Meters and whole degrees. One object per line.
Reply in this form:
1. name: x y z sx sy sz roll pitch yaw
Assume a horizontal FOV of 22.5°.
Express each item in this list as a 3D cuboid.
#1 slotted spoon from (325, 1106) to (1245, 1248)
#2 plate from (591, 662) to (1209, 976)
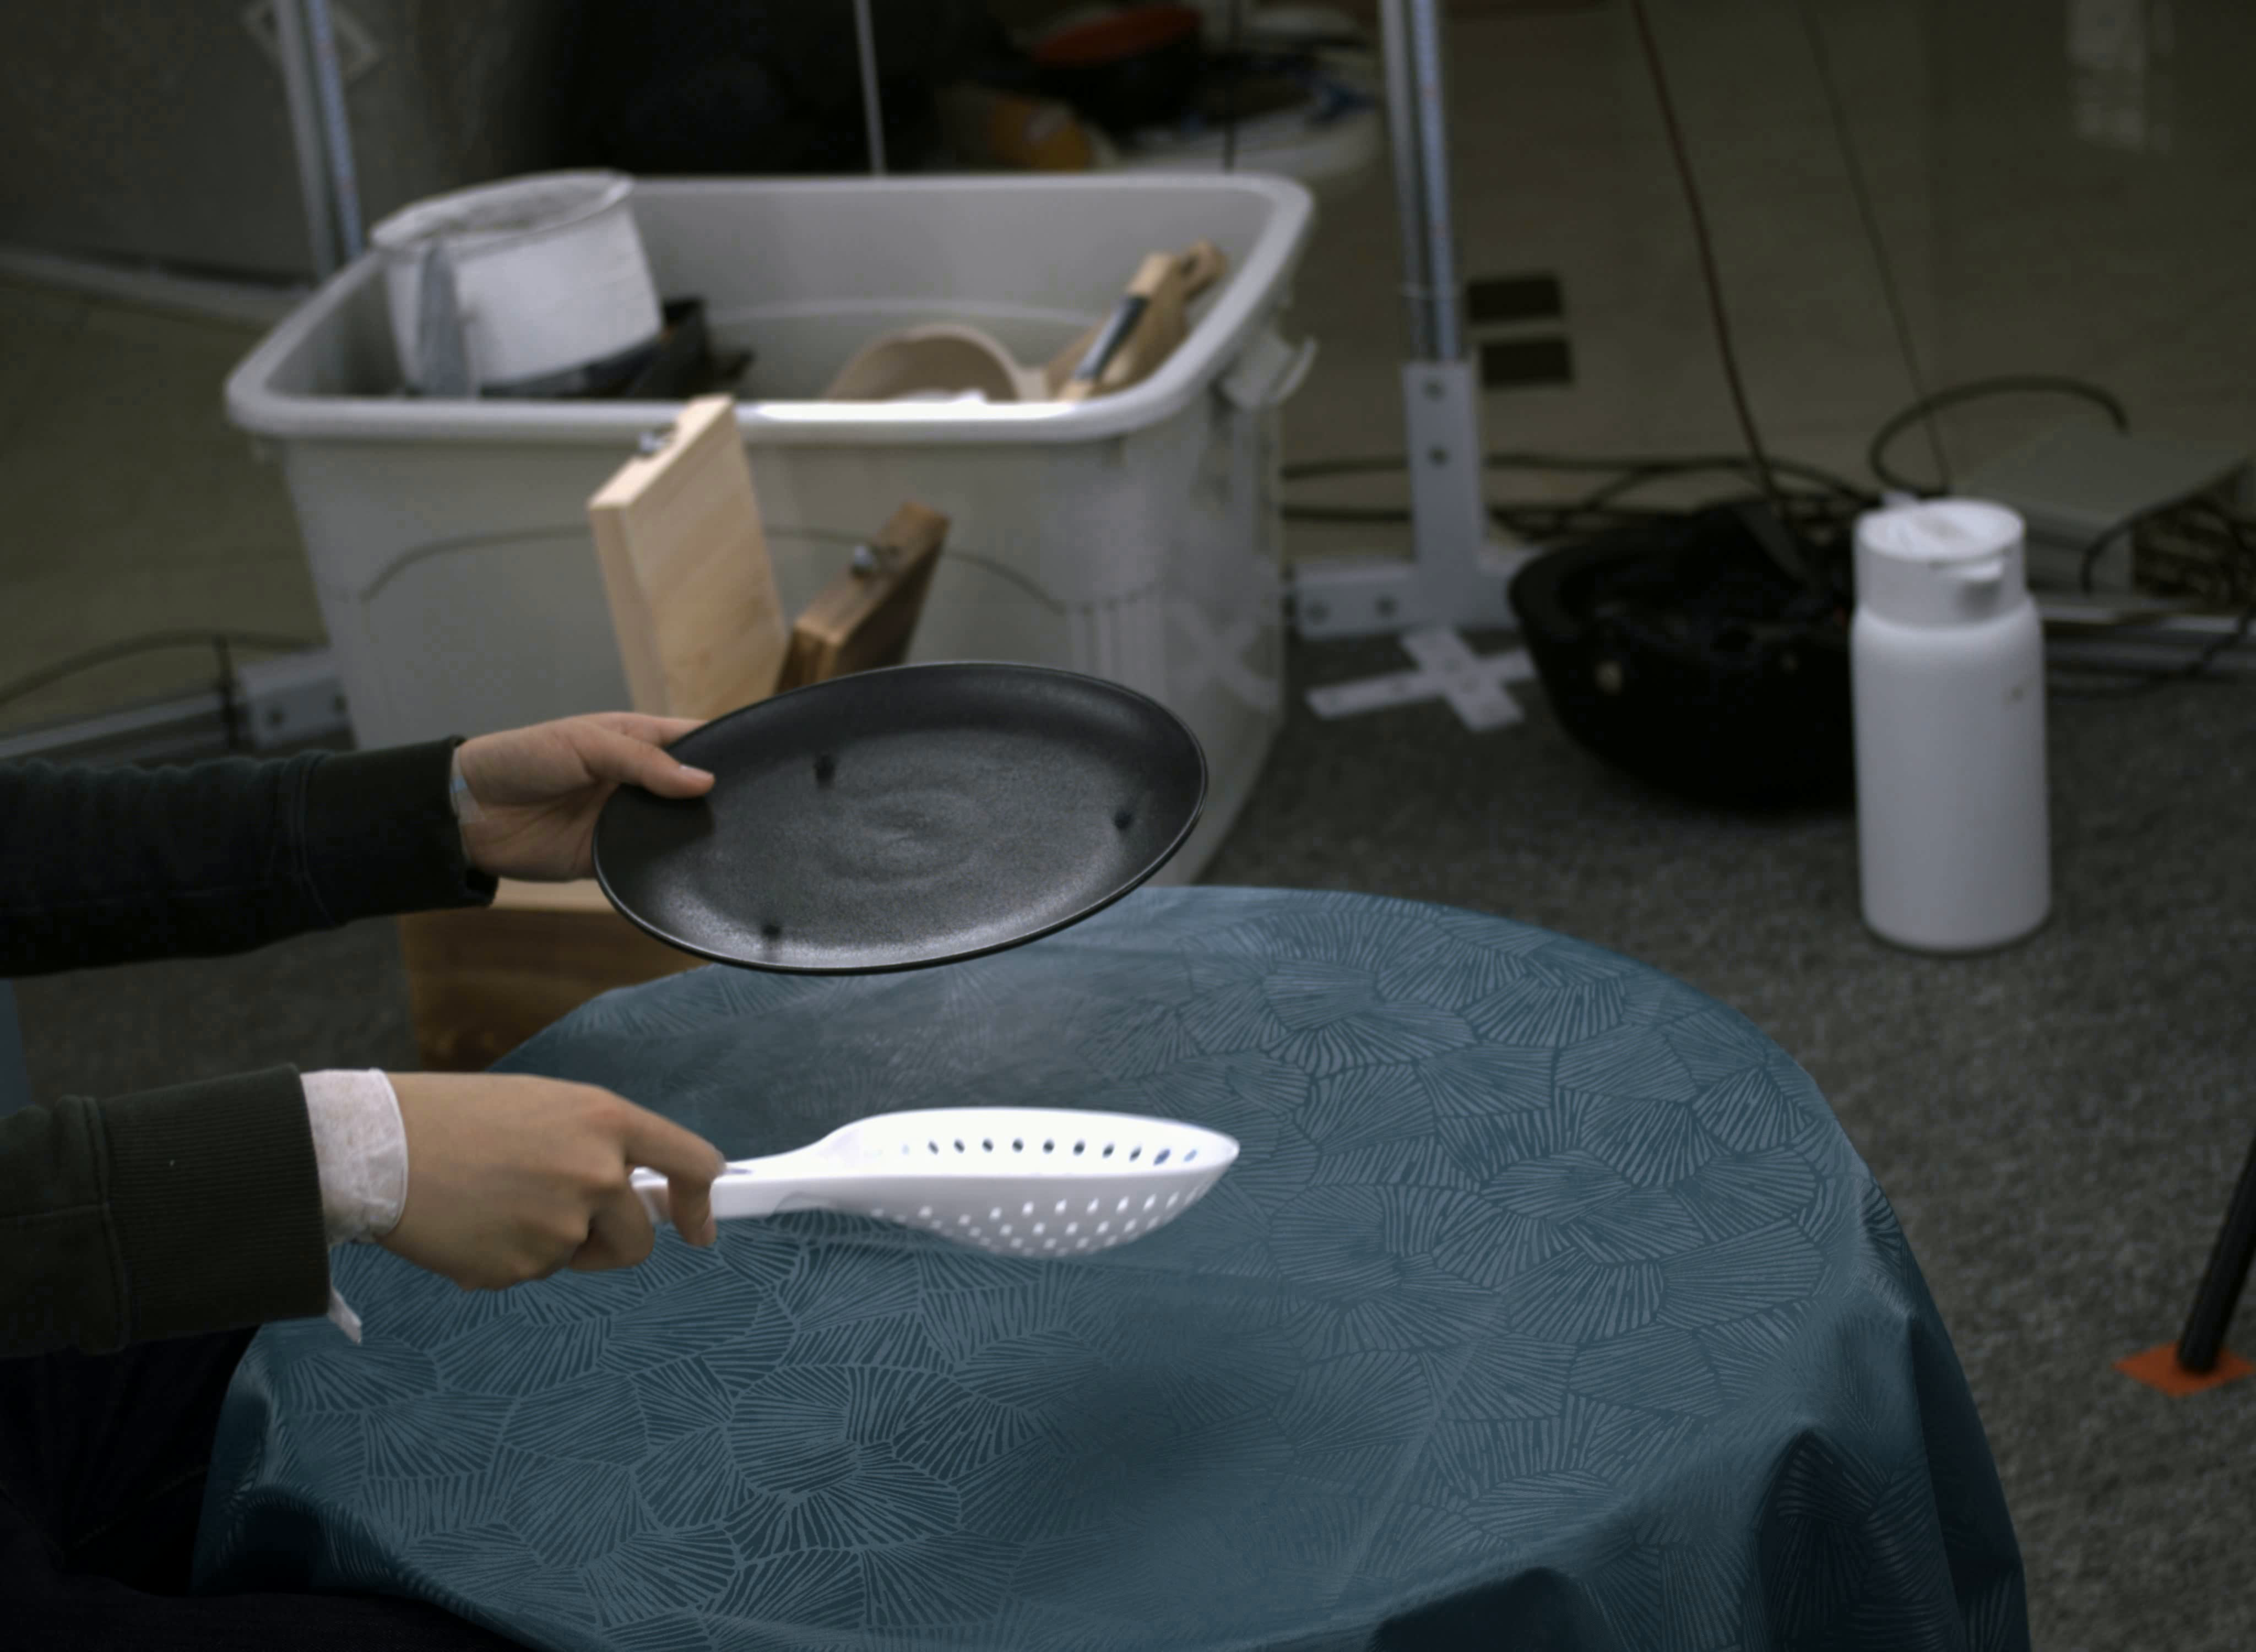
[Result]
1. slotted spoon: -0.111 0.116 1.886 0.350 0.046 0.135 4 2 -40
2. plate: -0.088 0.002 2.210 0.244 0.024 0.240 -6 29 3
